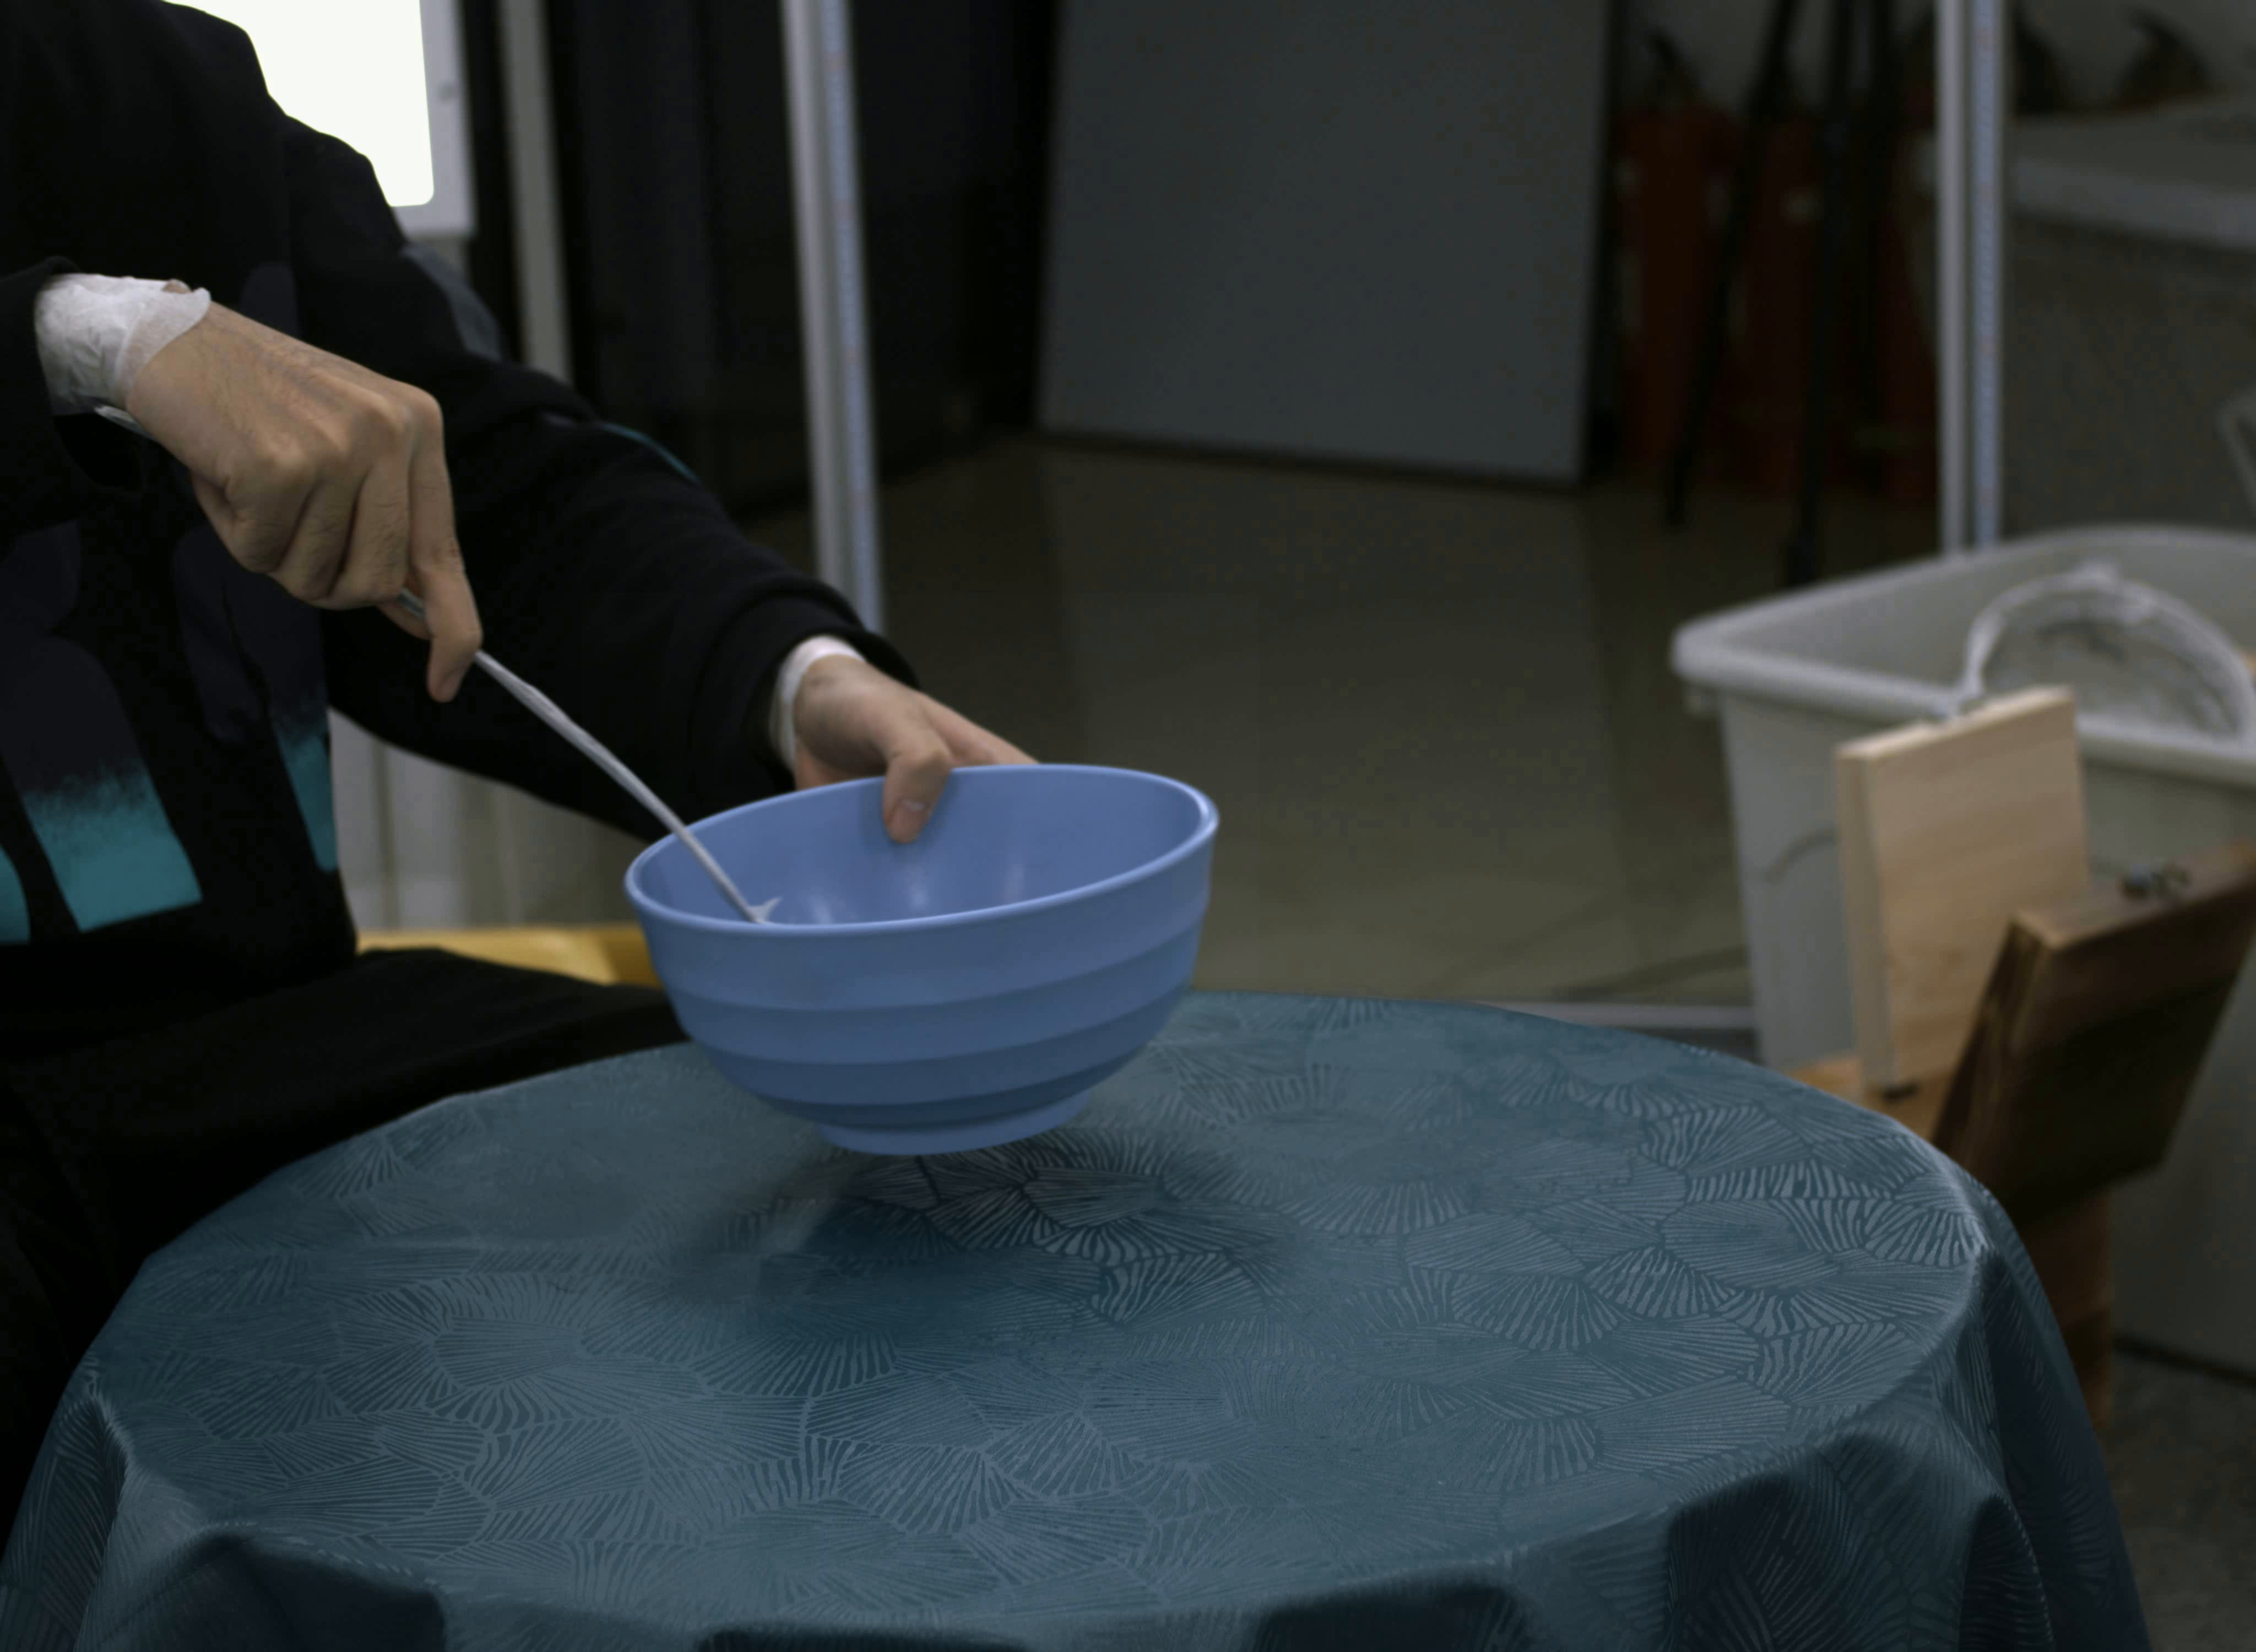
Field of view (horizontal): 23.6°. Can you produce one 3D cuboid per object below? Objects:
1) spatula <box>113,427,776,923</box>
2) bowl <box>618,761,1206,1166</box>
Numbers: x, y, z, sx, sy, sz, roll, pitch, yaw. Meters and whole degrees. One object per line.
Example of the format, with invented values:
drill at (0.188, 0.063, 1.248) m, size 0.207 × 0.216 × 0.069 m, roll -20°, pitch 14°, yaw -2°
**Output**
spatula at (-0.172, -0.031, 1.761) m, size 0.362 × 0.045 × 0.099 m, roll 39°, pitch -5°, yaw -11°
bowl at (-0.064, 0.051, 1.768) m, size 0.194 × 0.096 × 0.197 m, roll -9°, pitch 14°, yaw 1°
